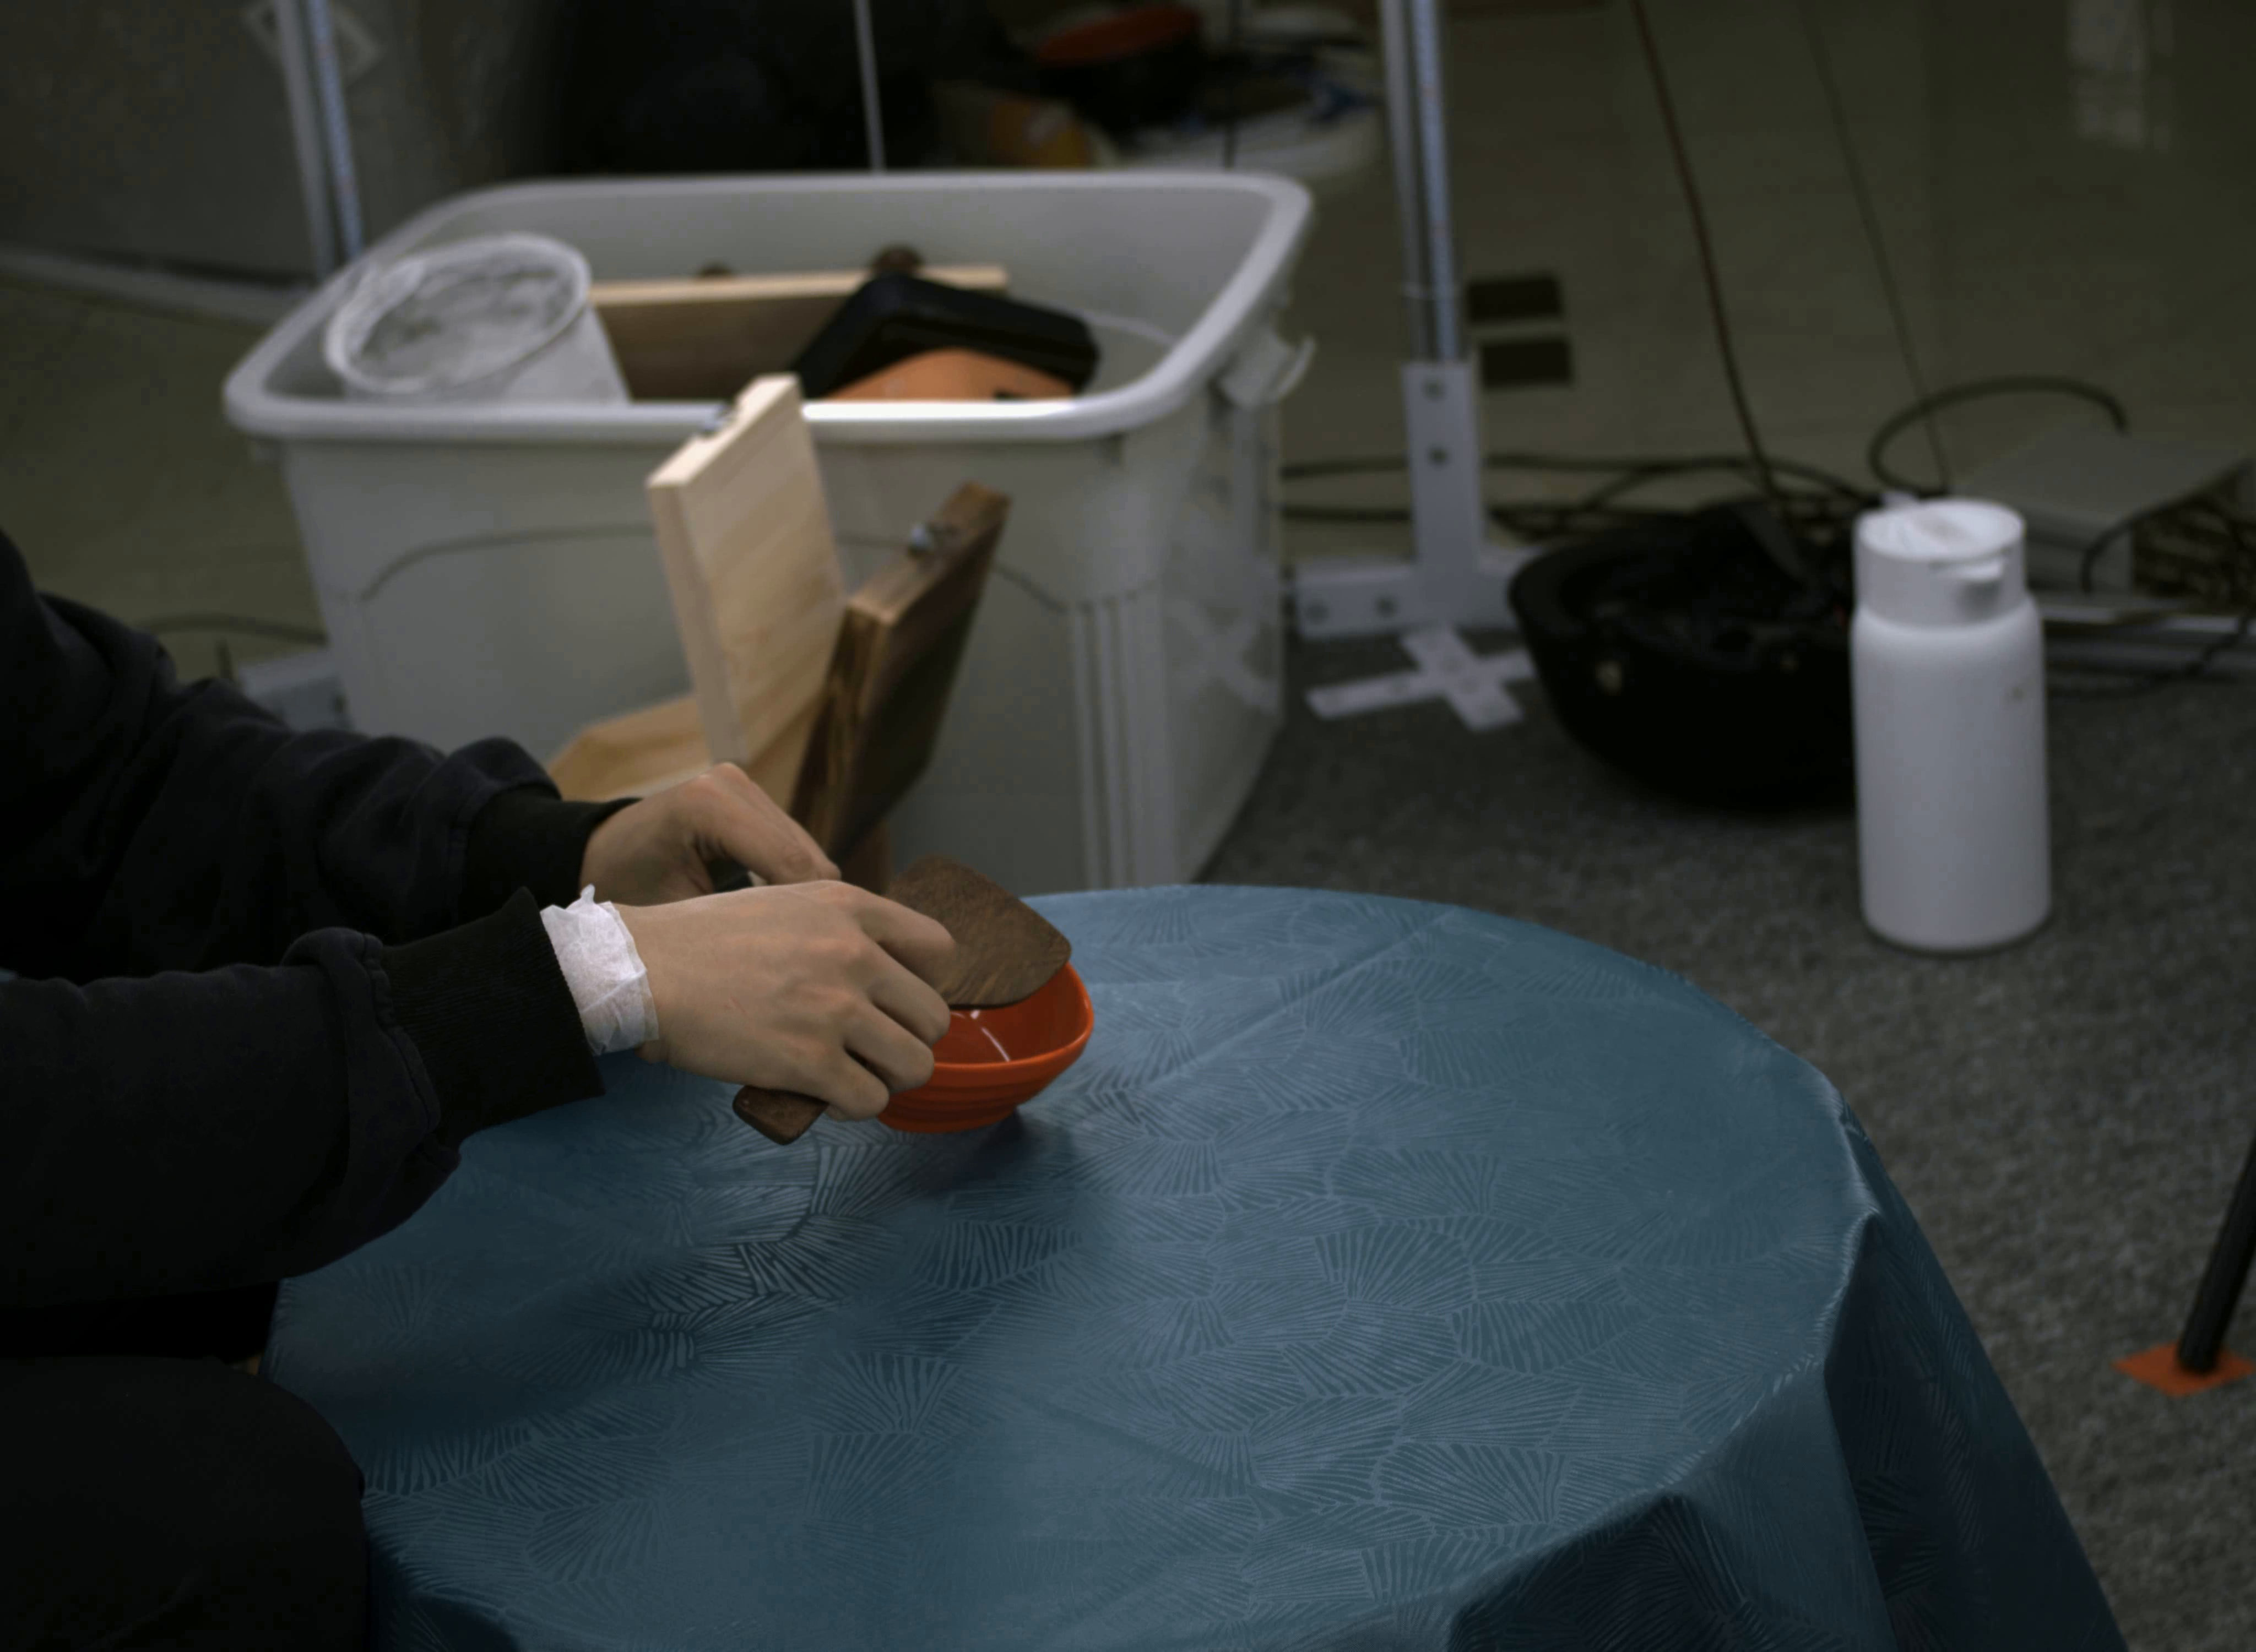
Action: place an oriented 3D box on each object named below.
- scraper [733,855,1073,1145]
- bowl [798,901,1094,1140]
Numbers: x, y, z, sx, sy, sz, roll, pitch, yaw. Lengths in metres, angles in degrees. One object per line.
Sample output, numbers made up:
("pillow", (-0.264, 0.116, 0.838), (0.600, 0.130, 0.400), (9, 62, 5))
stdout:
("scraper", (-0.092, 0.070, 2.138), (0.075, 0.011, 0.209), (36, 33, 8))
("bowl", (-0.076, 0.081, 2.211), (0.119, 0.052, 0.117), (11, 35, -8))
